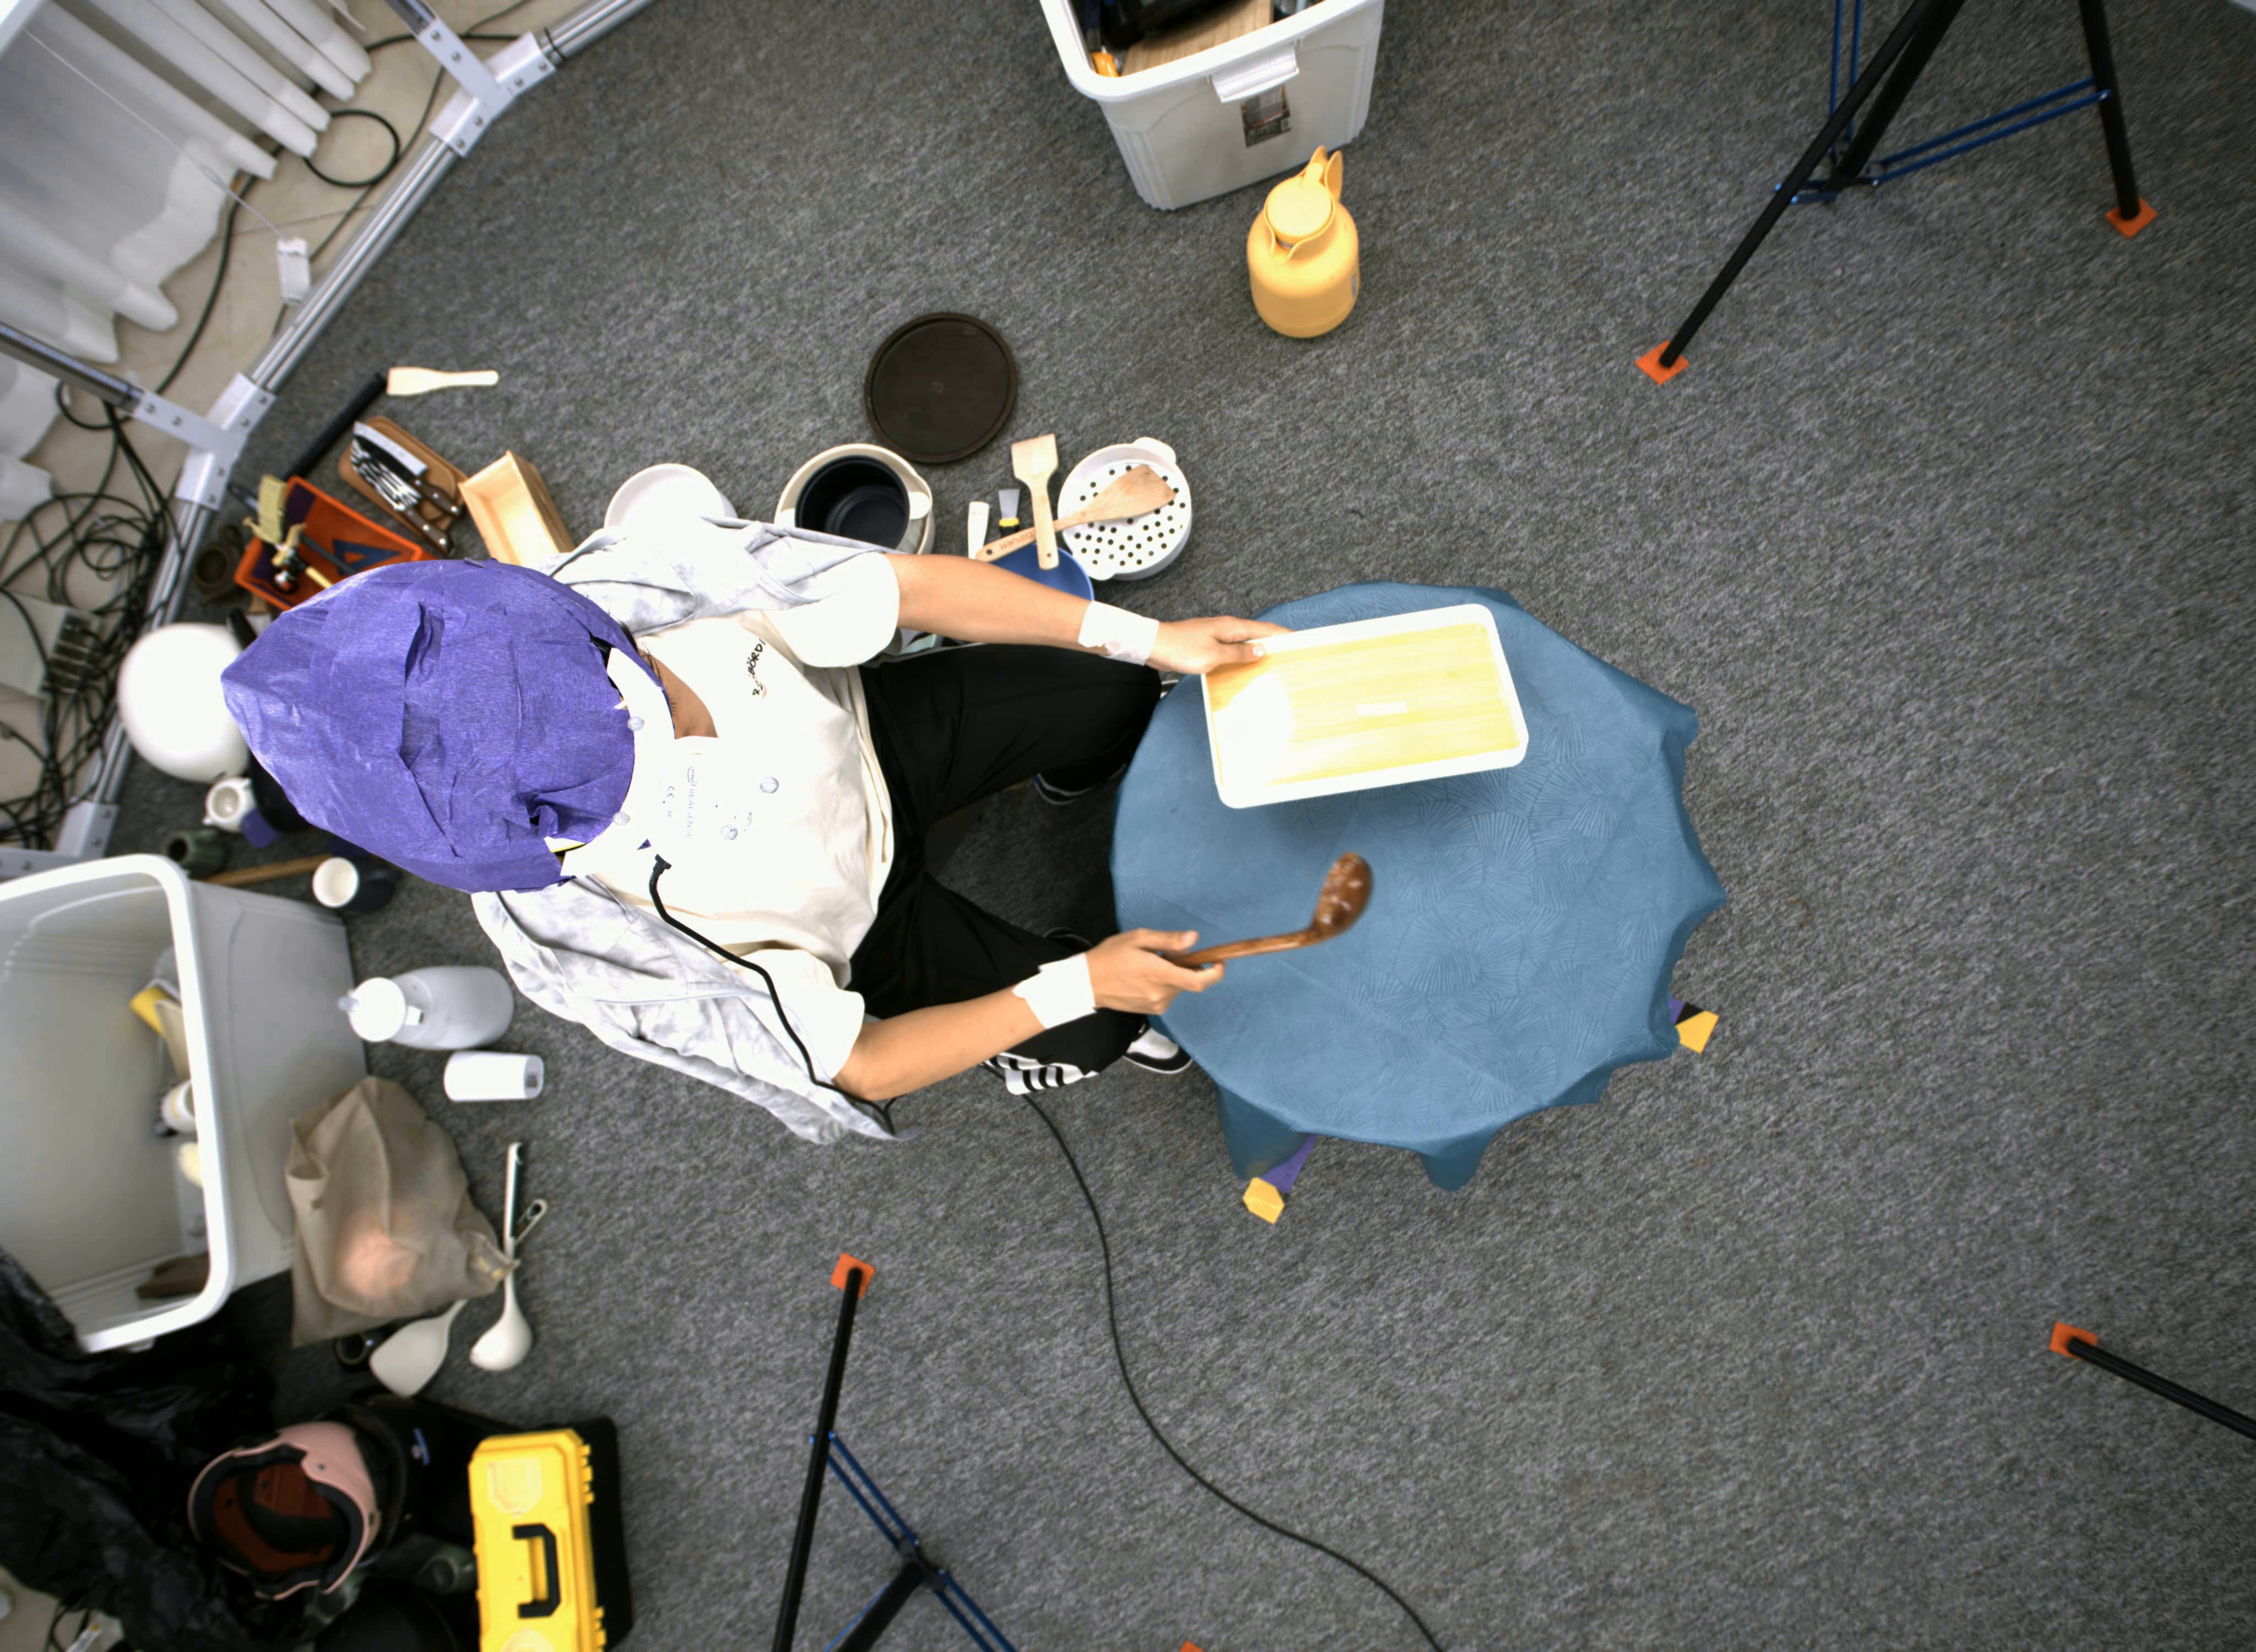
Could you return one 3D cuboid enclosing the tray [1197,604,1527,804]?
[{"bbox_3d":[0.225,-0.124,1.359,0.301,0.028,0.187,-9,57,6],"label":"tray"}]

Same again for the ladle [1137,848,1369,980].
[{"bbox_3d":[0.107,0.085,1.313,0.278,0.081,0.076,-17,88,38],"label":"ladle"}]
